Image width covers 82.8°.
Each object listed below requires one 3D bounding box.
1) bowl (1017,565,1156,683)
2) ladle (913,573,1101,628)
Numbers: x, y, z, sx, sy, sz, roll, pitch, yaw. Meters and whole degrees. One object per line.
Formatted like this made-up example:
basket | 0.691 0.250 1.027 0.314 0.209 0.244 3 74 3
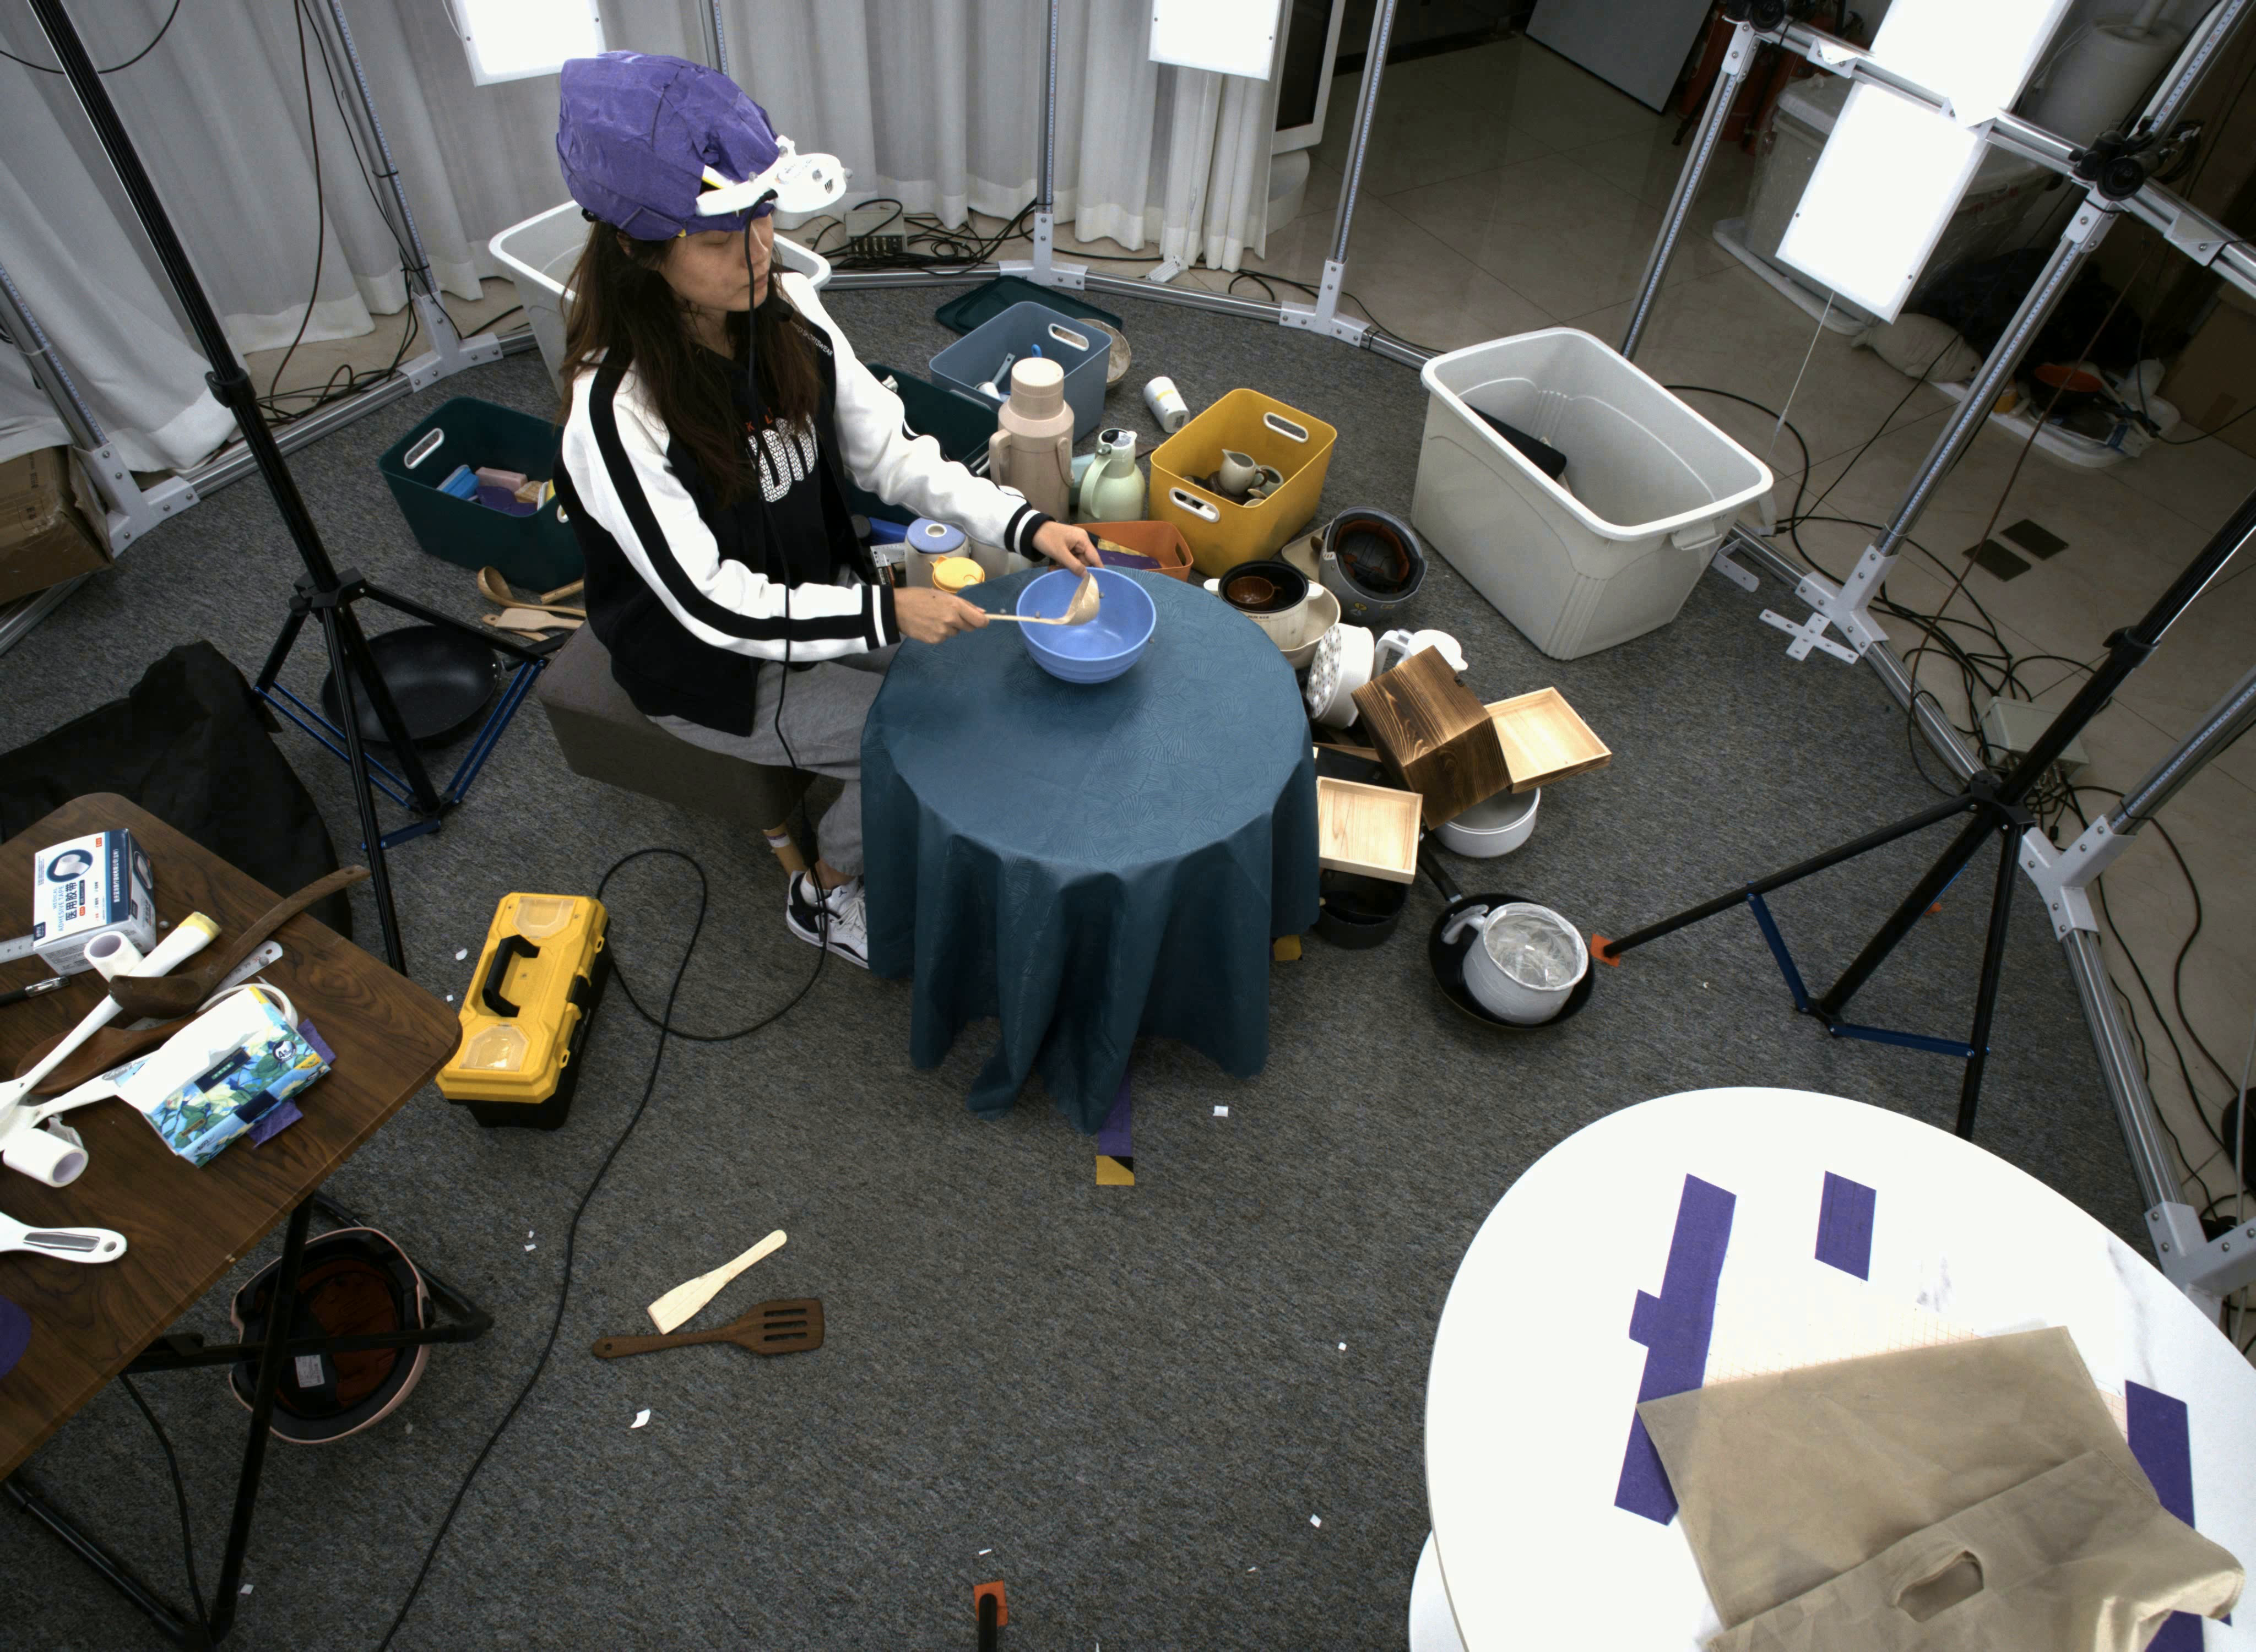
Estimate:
bowl | -0.062 -0.273 1.840 0.196 0.093 0.201 4 49 -5
ladle | -0.164 -0.307 1.748 0.254 0.072 0.073 -2 20 -7
